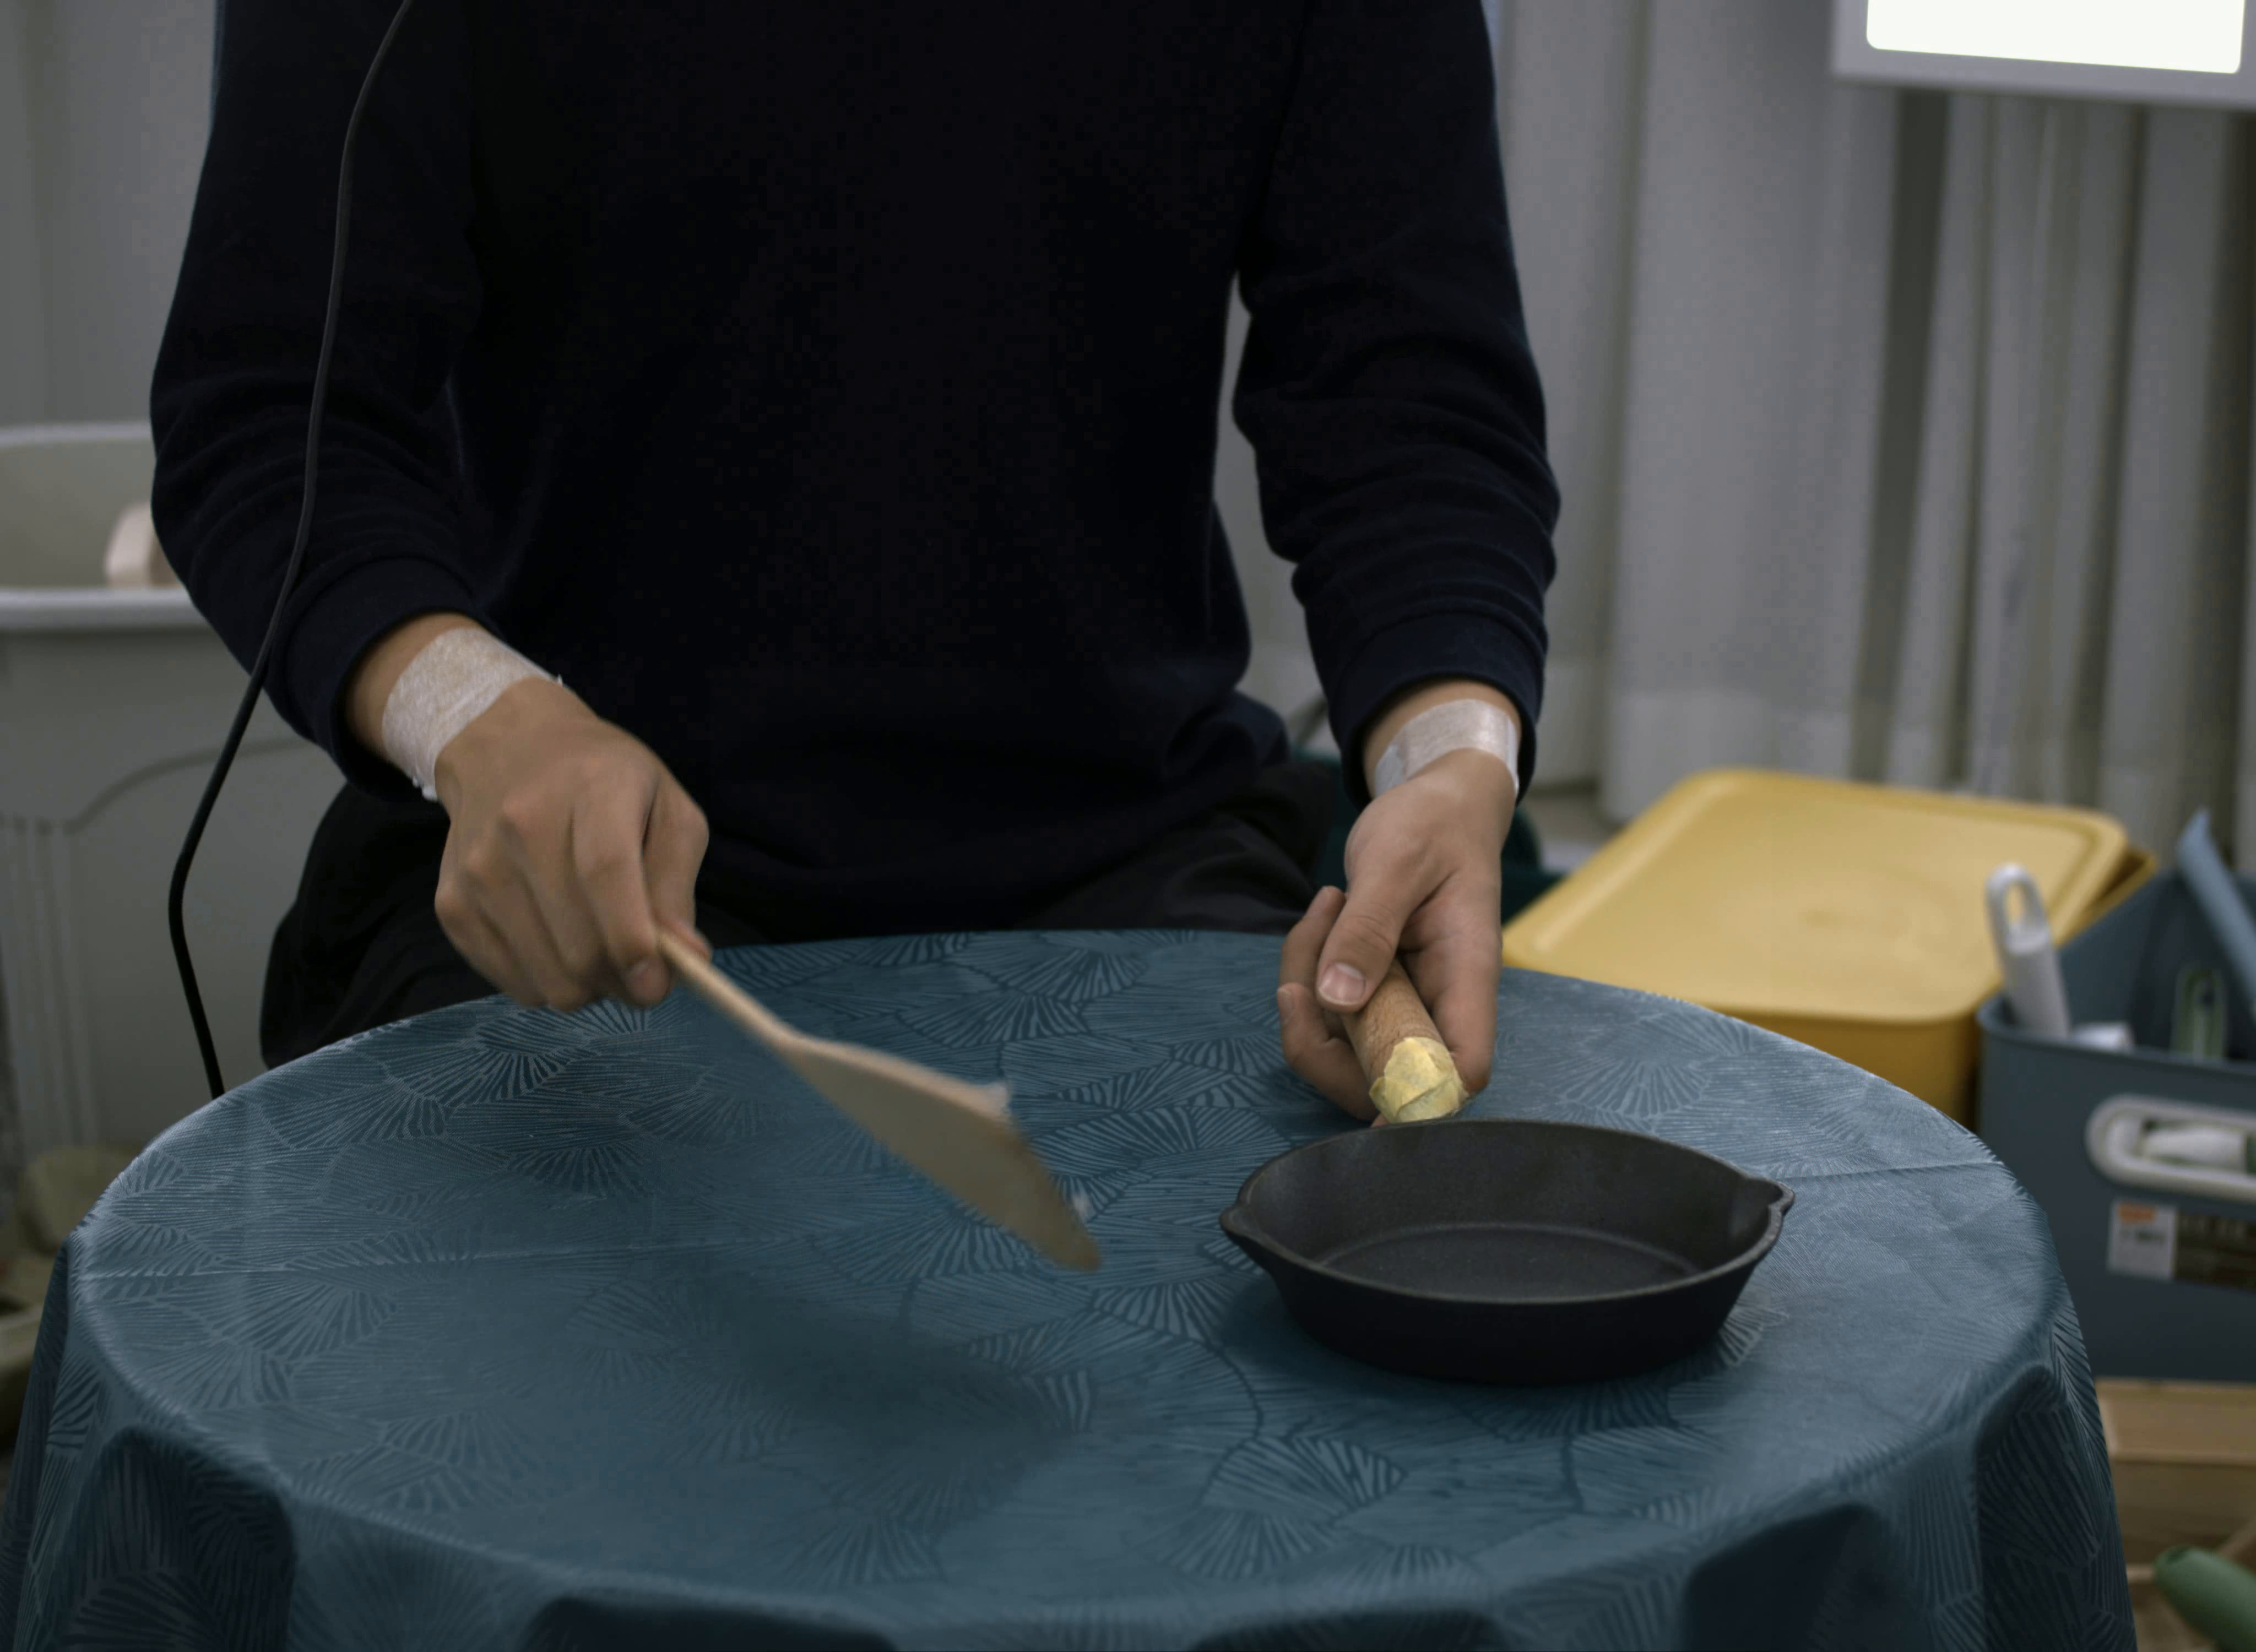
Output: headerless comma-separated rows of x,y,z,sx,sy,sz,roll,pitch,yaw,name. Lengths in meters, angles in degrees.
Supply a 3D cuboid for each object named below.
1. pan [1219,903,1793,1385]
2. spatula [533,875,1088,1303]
0.098,0.093,1.600,0.169,0.050,0.321,-2,17,-8,pan
-0.103,0.066,1.541,0.016,0.081,0.323,-43,32,-11,spatula
